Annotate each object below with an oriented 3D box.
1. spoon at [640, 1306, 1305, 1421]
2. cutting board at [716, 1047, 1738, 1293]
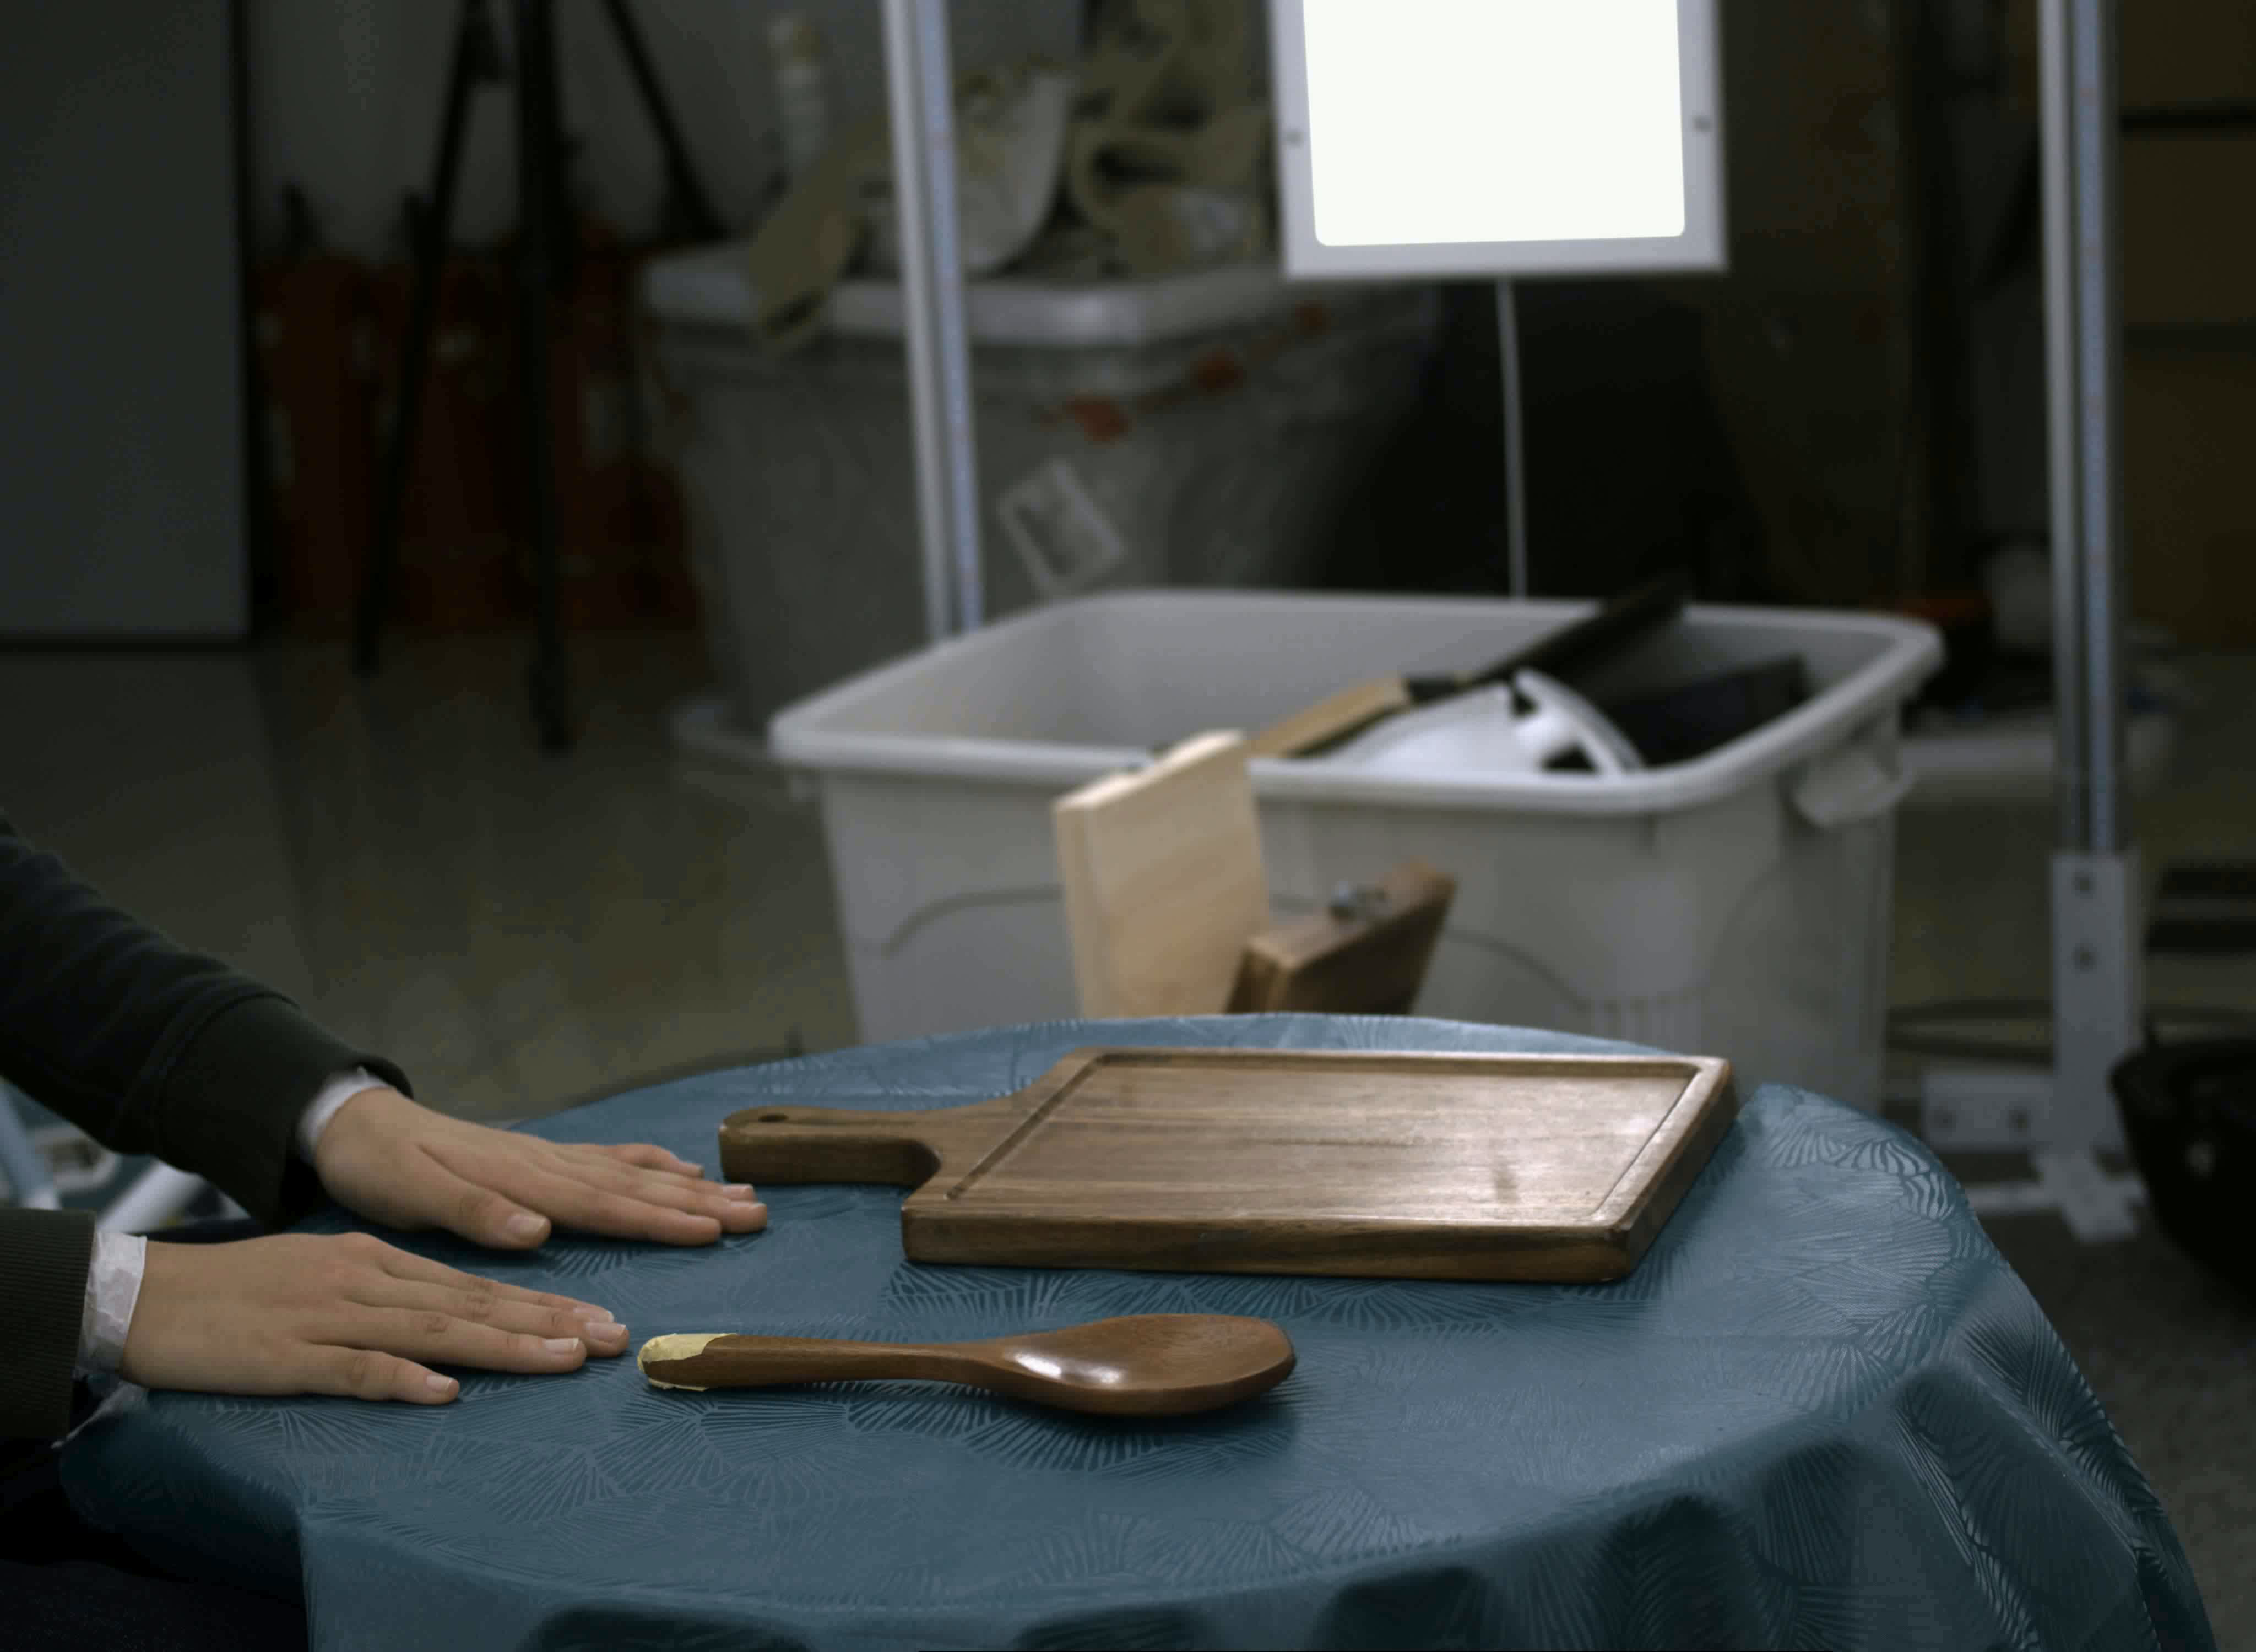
[{"bbox_3d":[-0.050,0.167,1.713,0.218,0.017,0.074,0,17,19],"label":"spoon"},{"bbox_3d":[0.023,0.115,1.901,0.357,0.023,0.197,0,16,20],"label":"cutting board"}]
